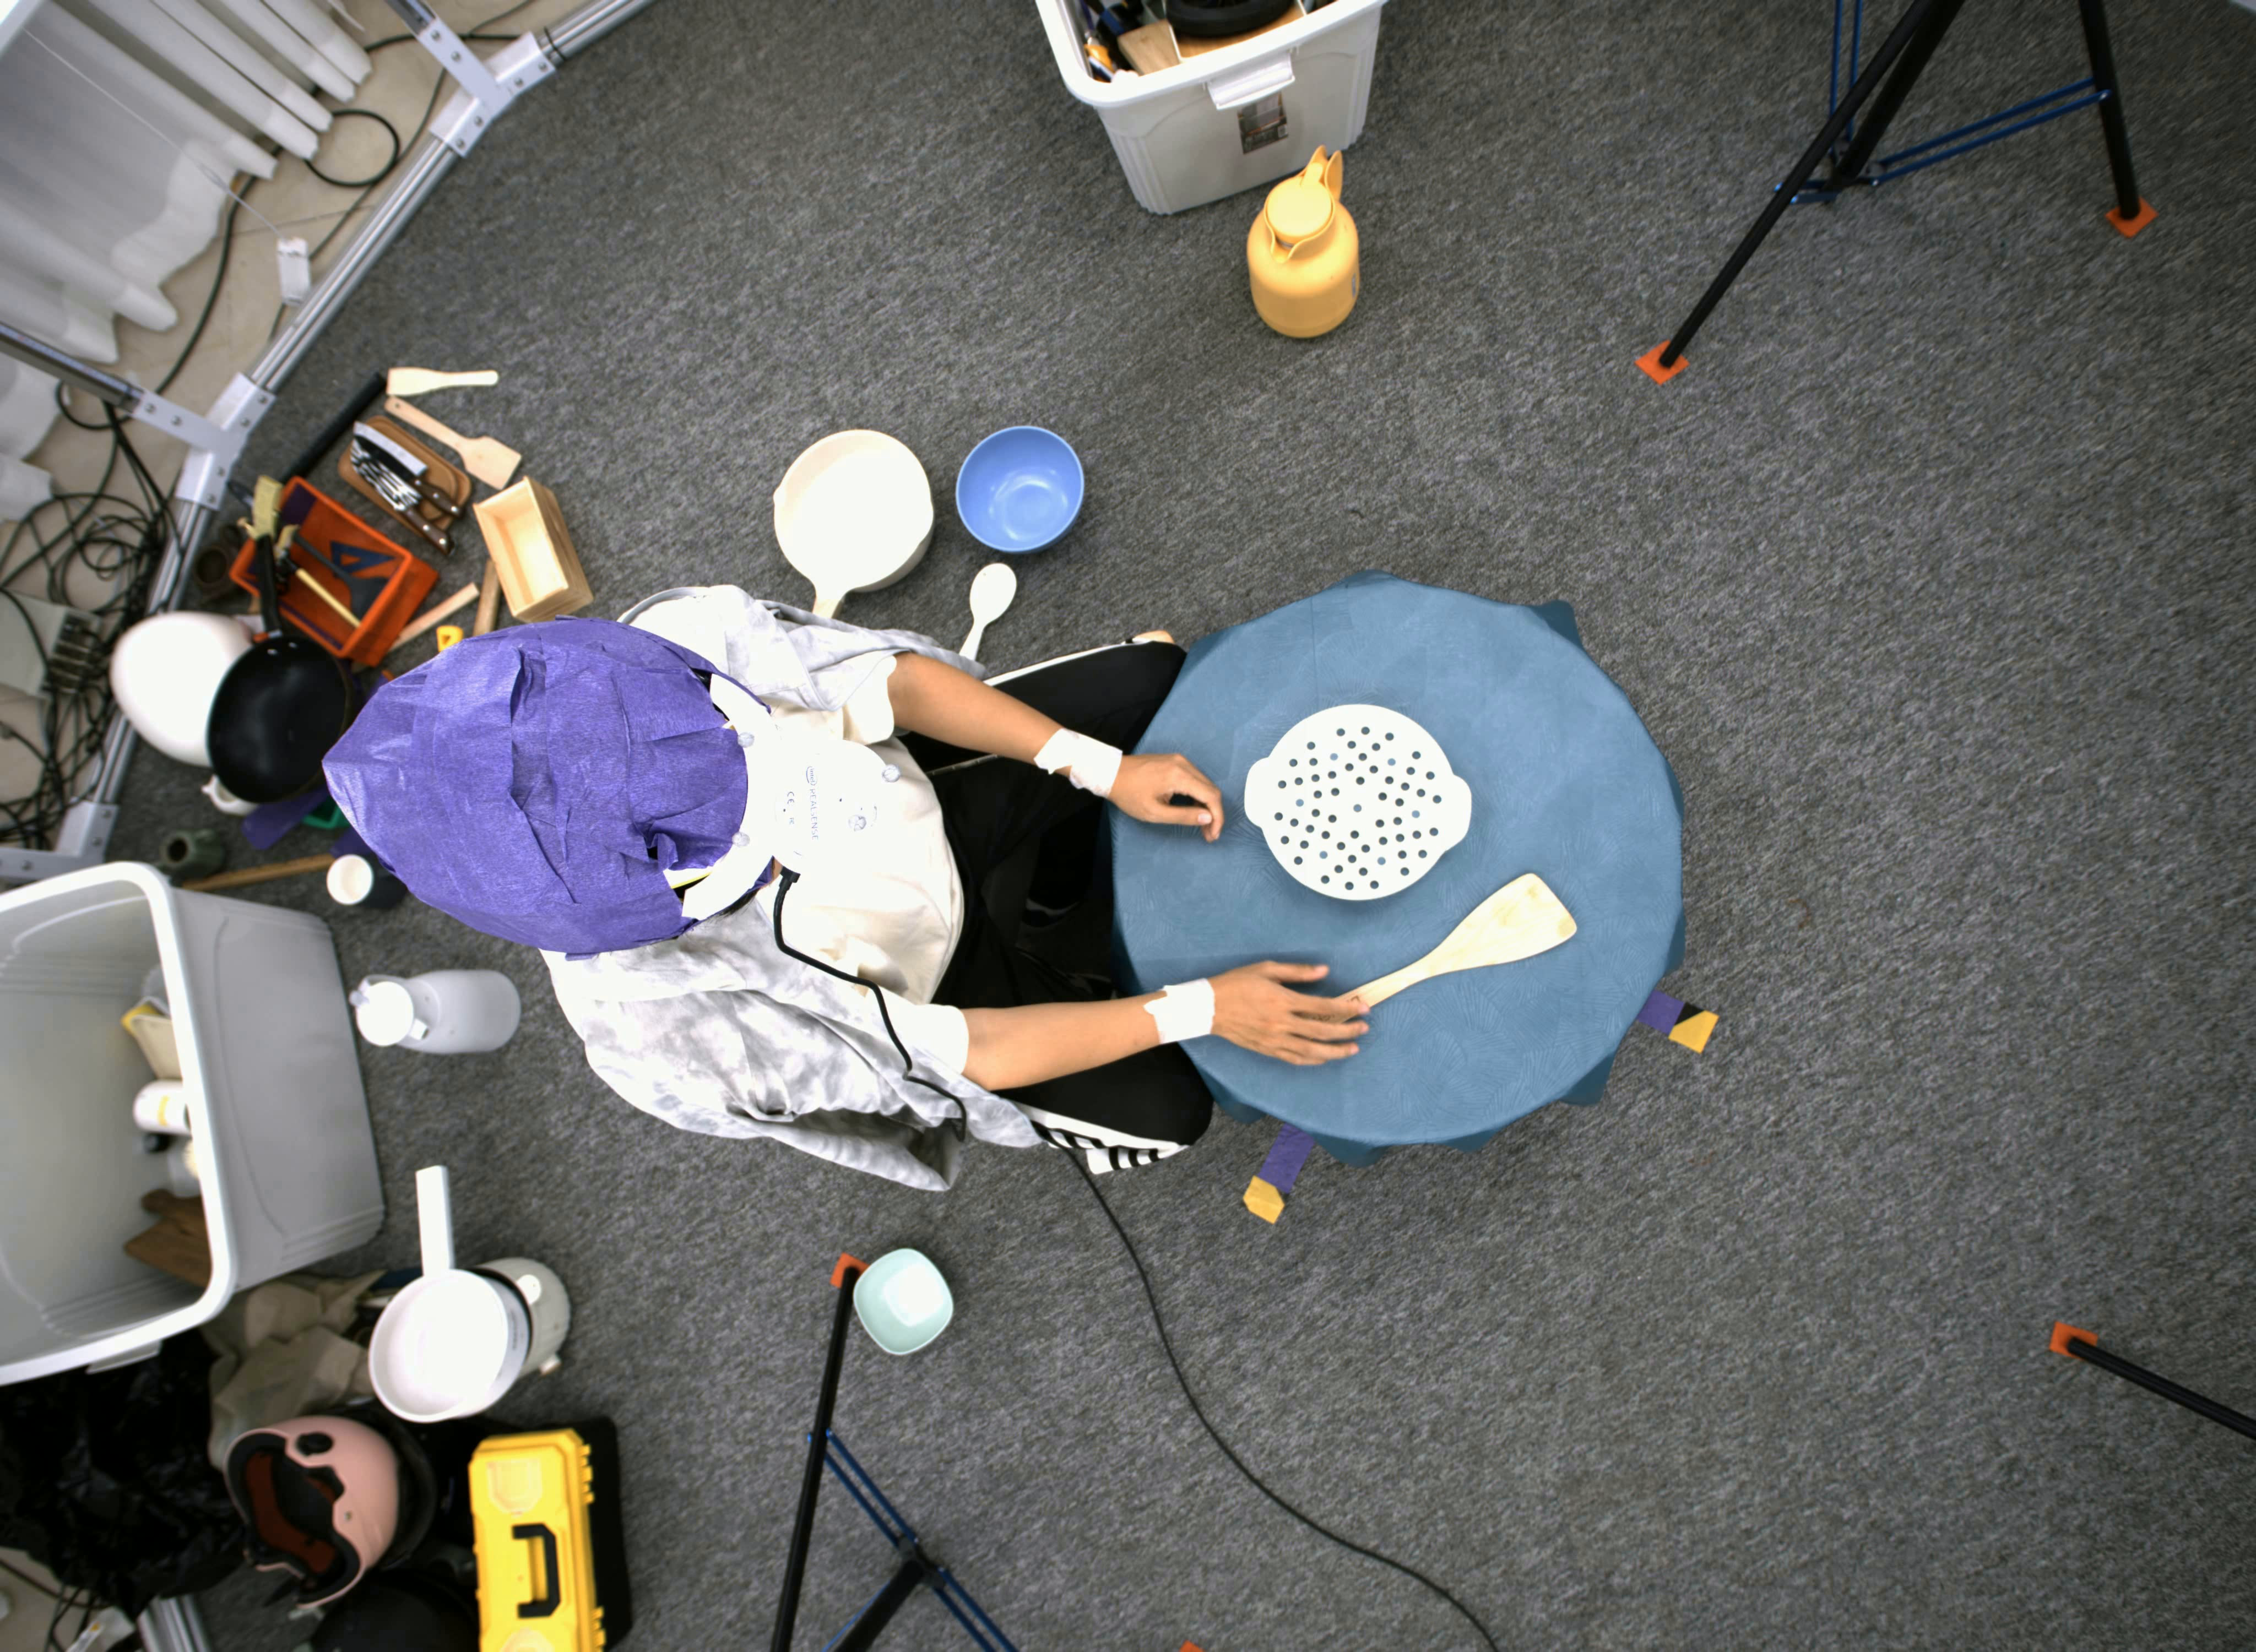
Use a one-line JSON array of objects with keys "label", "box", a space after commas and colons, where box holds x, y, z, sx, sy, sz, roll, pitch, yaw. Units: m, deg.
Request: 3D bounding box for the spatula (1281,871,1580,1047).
[{"label": "spatula", "box": [0.306, 0.147, 1.438, 0.329, 0.016, 0.079, -28, 81, 8]}]

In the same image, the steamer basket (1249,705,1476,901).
[{"label": "steamer basket", "box": [0.243, -0.023, 1.435, 0.231, 0.069, 0.201, 6, 86, 12]}]
